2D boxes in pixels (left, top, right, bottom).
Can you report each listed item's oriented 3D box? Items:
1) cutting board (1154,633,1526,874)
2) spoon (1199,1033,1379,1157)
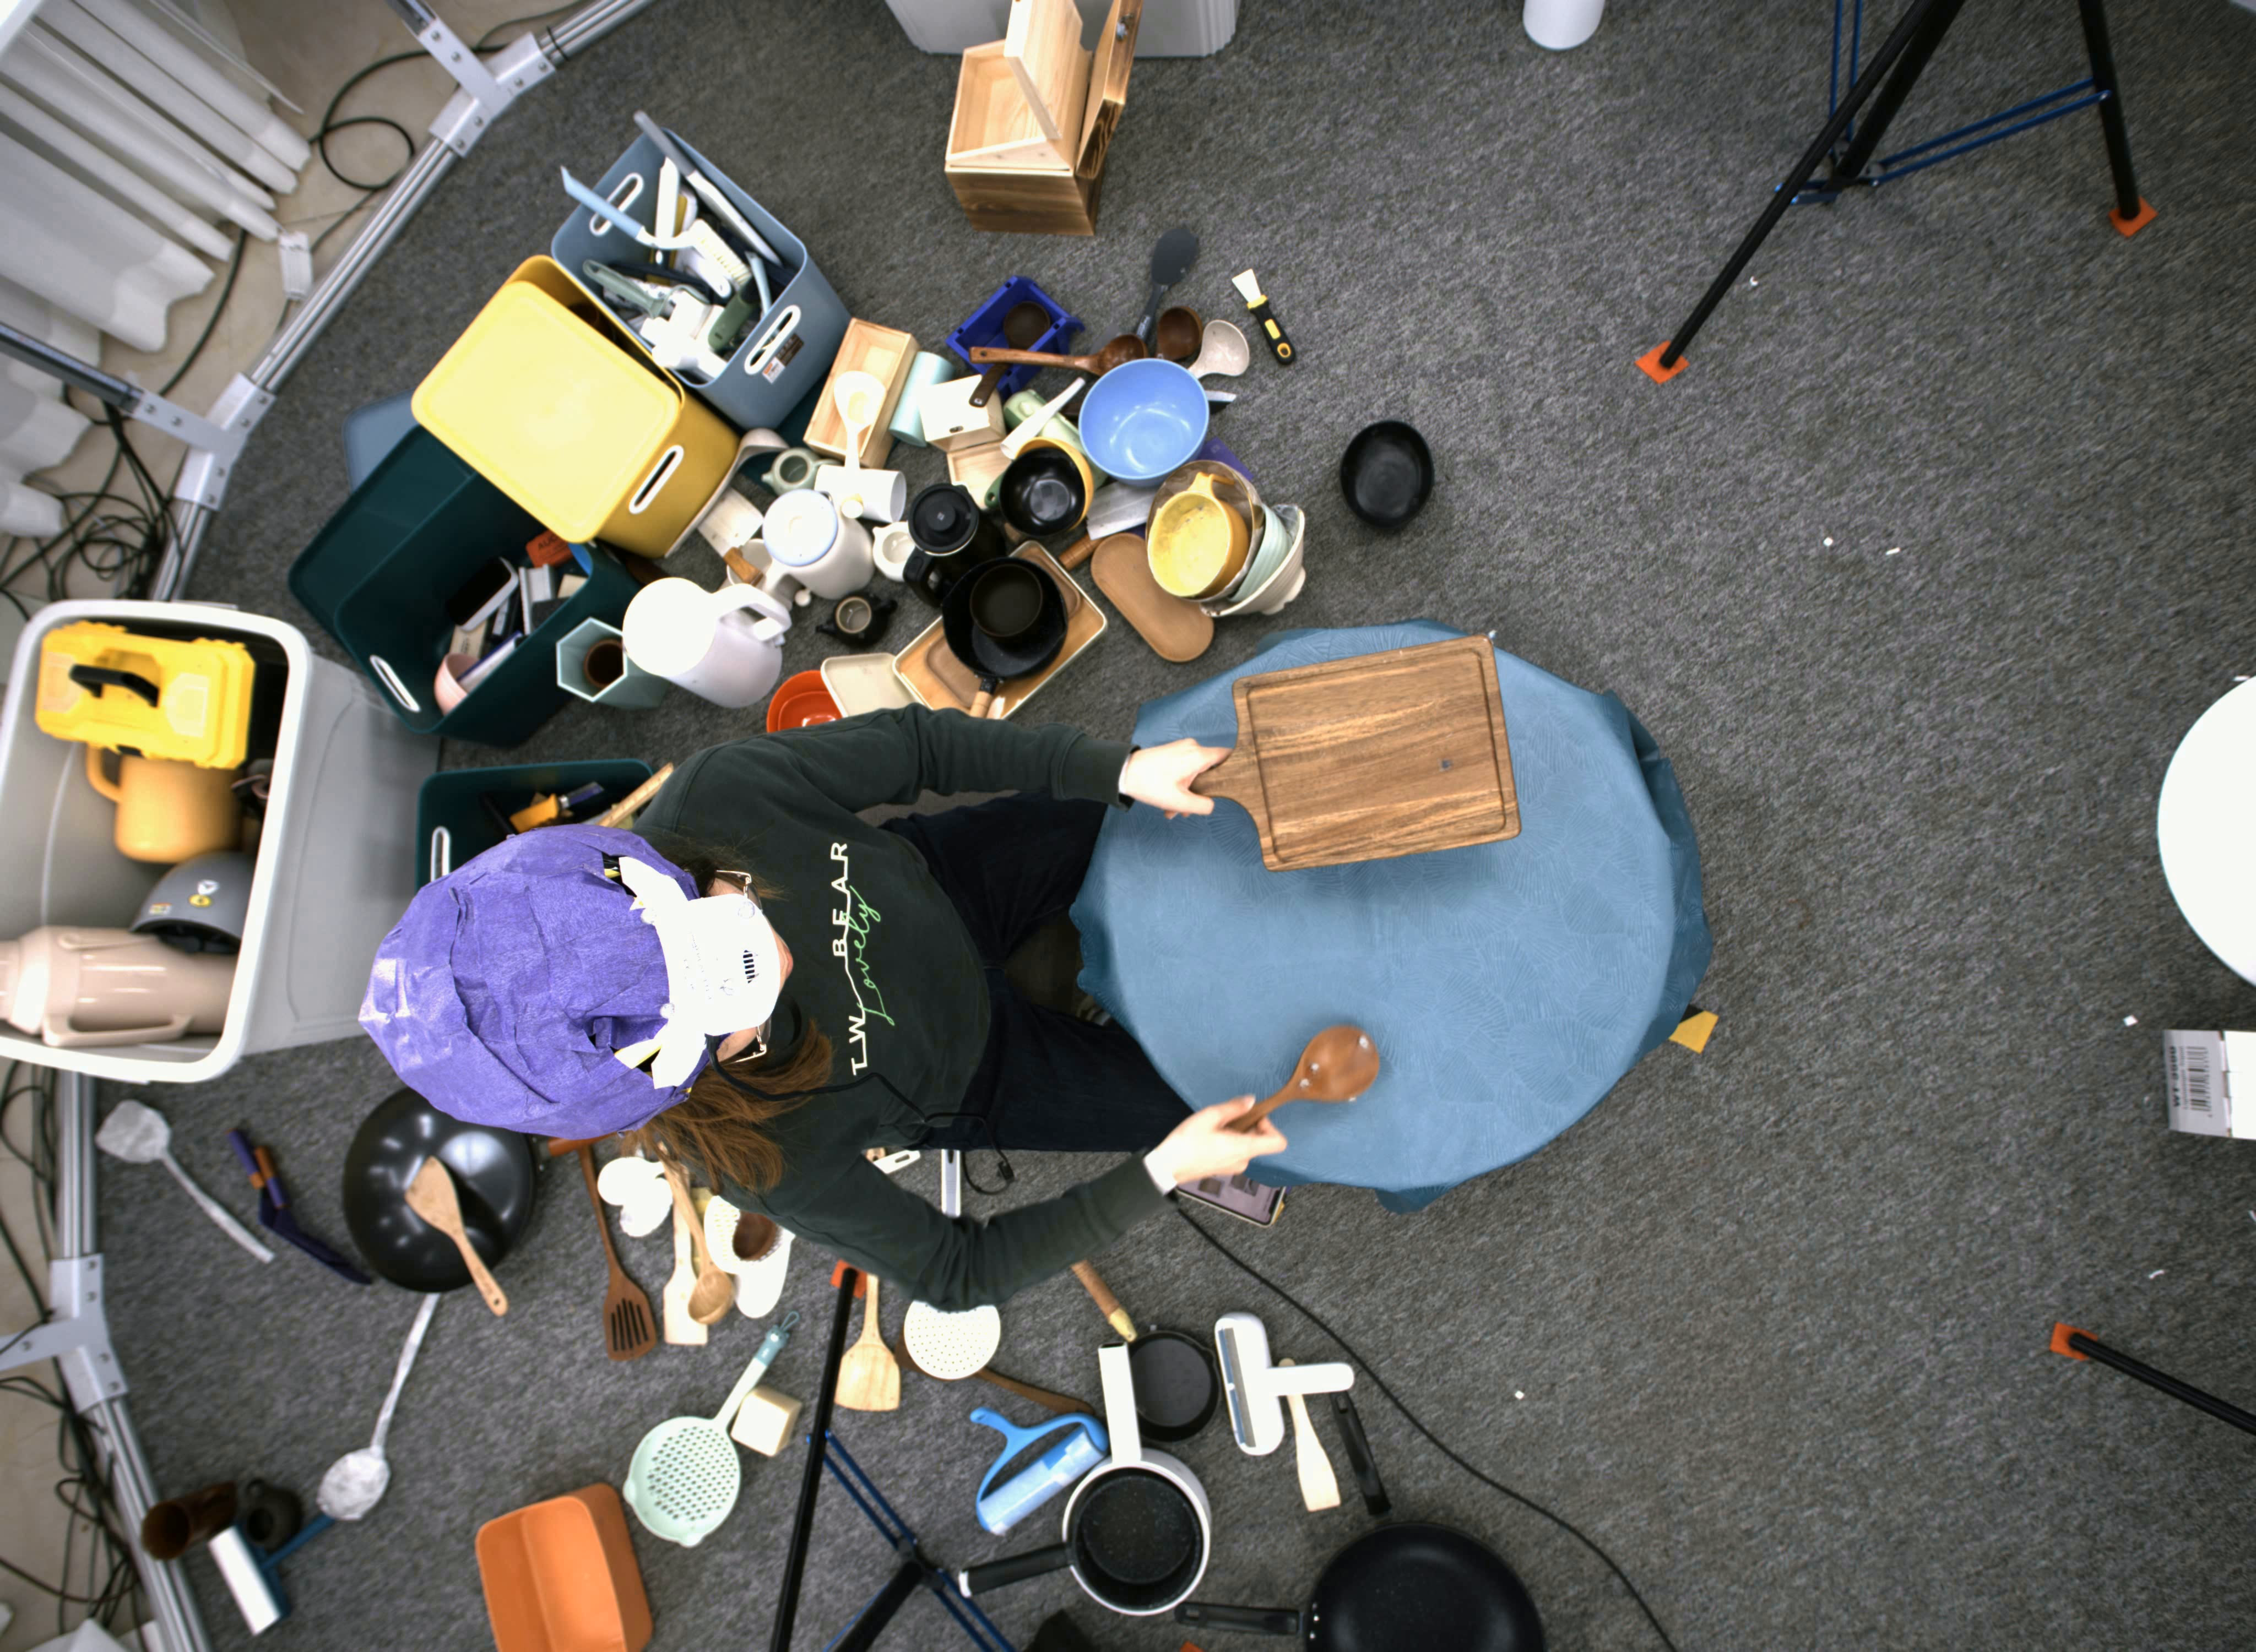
[{"bbox_3d":[0.195,-0.060,1.343,0.355,0.023,0.202,-9,101,18],"label":"cutting board"},{"bbox_3d":[0.161,0.271,1.381,0.213,0.017,0.075,-24,78,-24],"label":"spoon"}]
